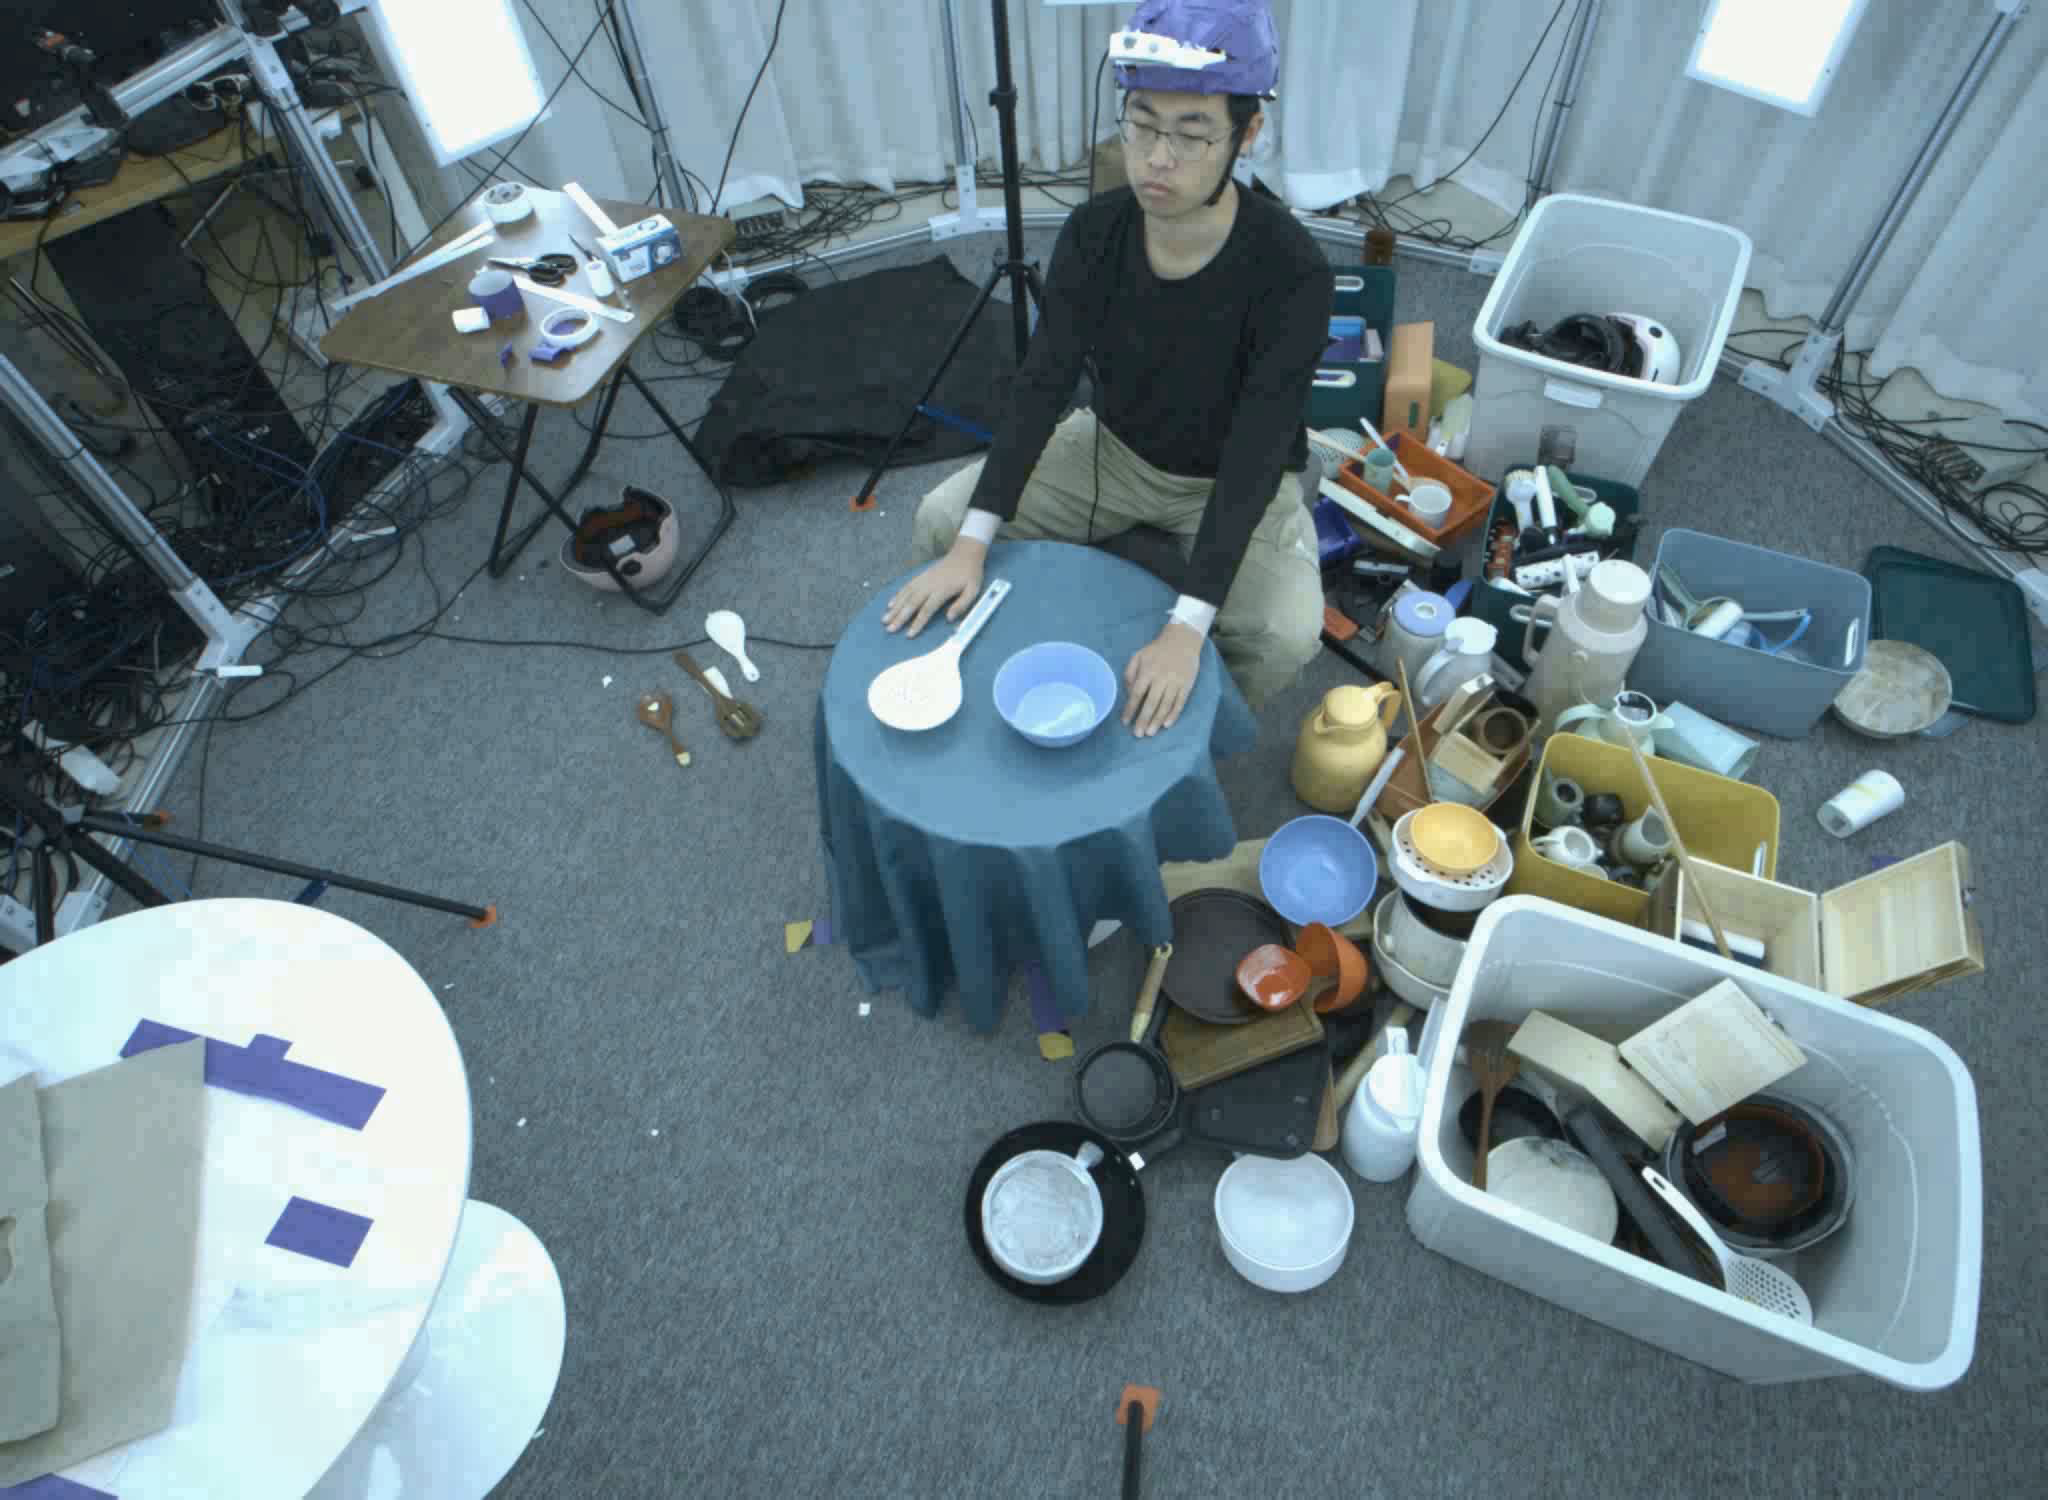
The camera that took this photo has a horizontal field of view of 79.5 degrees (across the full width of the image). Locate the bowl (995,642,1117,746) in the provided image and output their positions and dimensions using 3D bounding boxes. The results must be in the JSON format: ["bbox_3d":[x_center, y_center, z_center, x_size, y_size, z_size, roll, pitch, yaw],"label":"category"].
[{"bbox_3d":[0.047,-0.071,1.793,0.176,0.071,0.174,0,54,1],"label":"bowl"}]

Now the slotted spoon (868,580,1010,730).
[{"bbox_3d":[-0.112,-0.150,1.870,0.134,0.046,0.350,21,57,16],"label":"slotted spoon"}]
